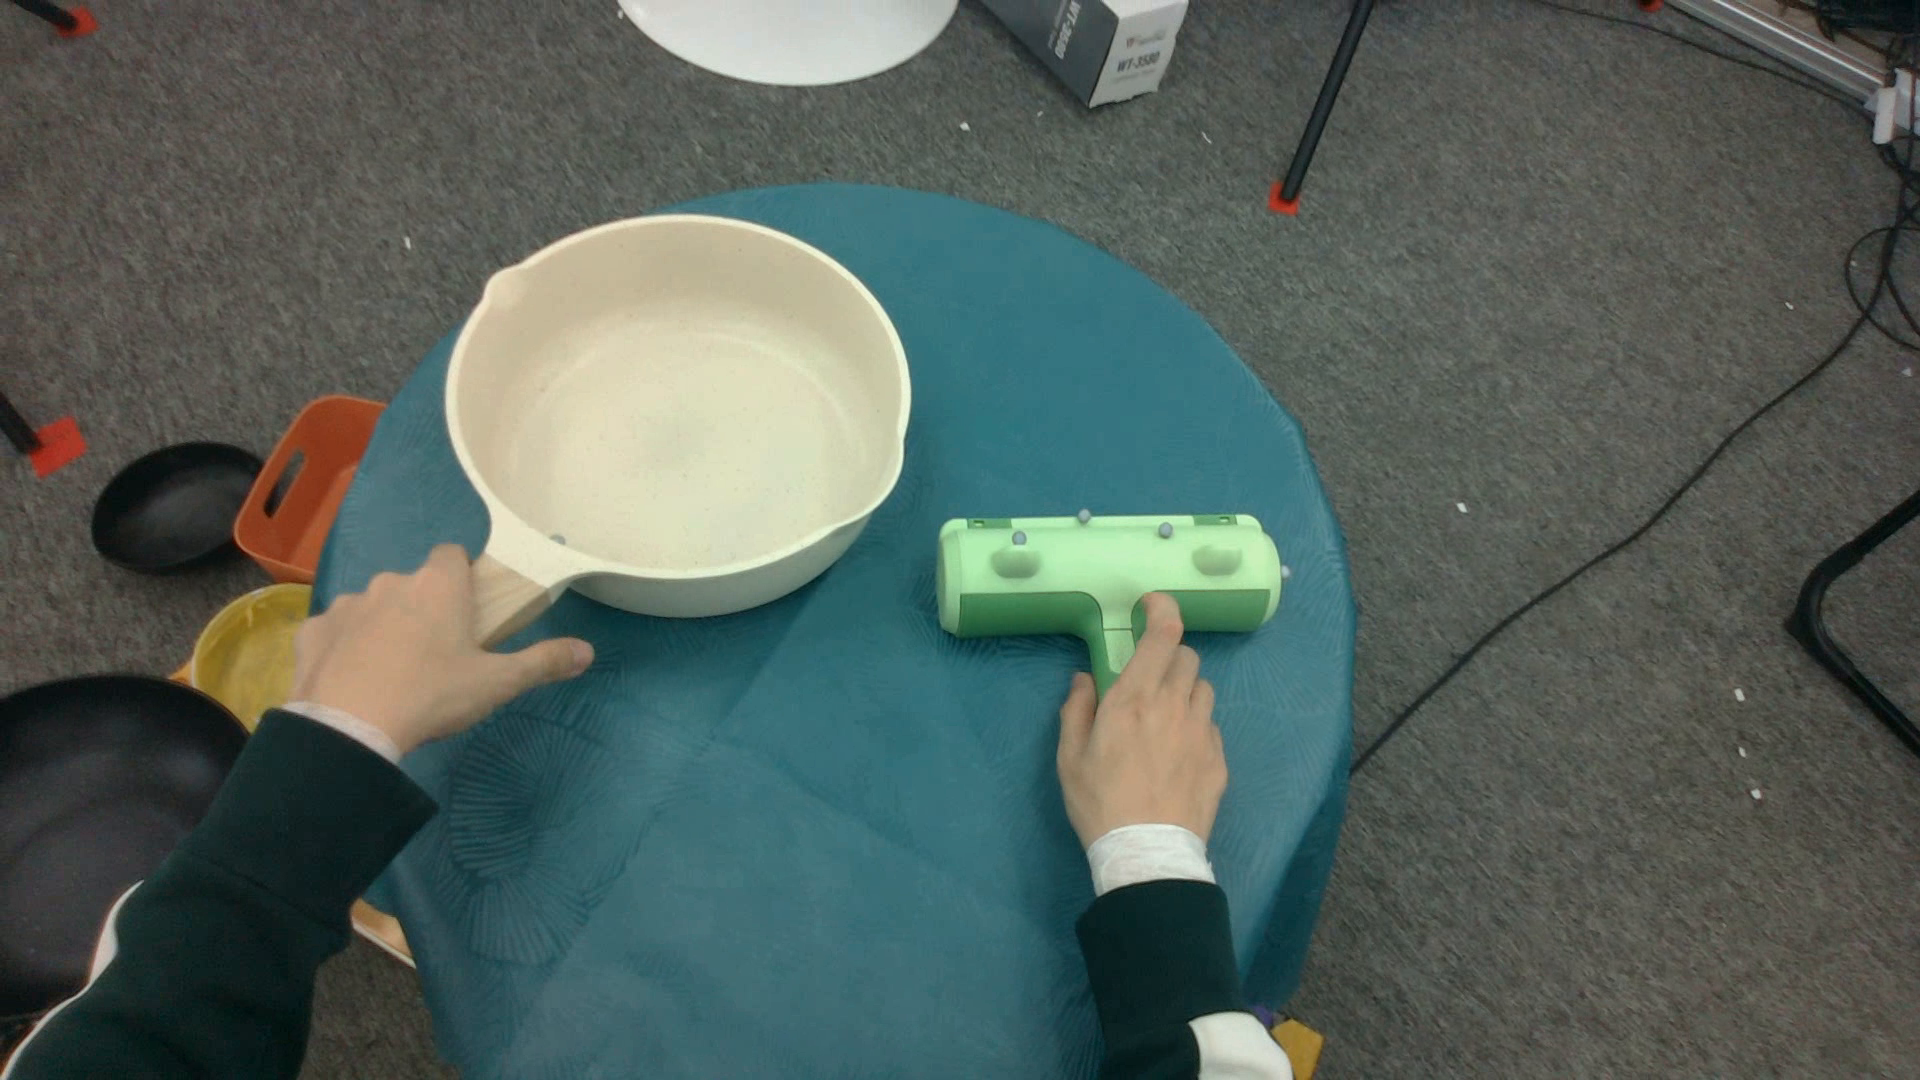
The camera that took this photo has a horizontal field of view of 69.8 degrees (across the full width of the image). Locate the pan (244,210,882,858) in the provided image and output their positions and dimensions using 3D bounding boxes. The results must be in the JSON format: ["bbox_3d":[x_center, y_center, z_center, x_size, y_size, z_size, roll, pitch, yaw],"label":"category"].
[{"bbox_3d":[-0.213,-0.006,0.745,0.263,0.101,0.437,27,59,8],"label":"pan"}]

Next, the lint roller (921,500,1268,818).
[{"bbox_3d":[0.084,0.054,0.757,0.199,0.082,0.184,-2,53,-8],"label":"lint roller"}]
